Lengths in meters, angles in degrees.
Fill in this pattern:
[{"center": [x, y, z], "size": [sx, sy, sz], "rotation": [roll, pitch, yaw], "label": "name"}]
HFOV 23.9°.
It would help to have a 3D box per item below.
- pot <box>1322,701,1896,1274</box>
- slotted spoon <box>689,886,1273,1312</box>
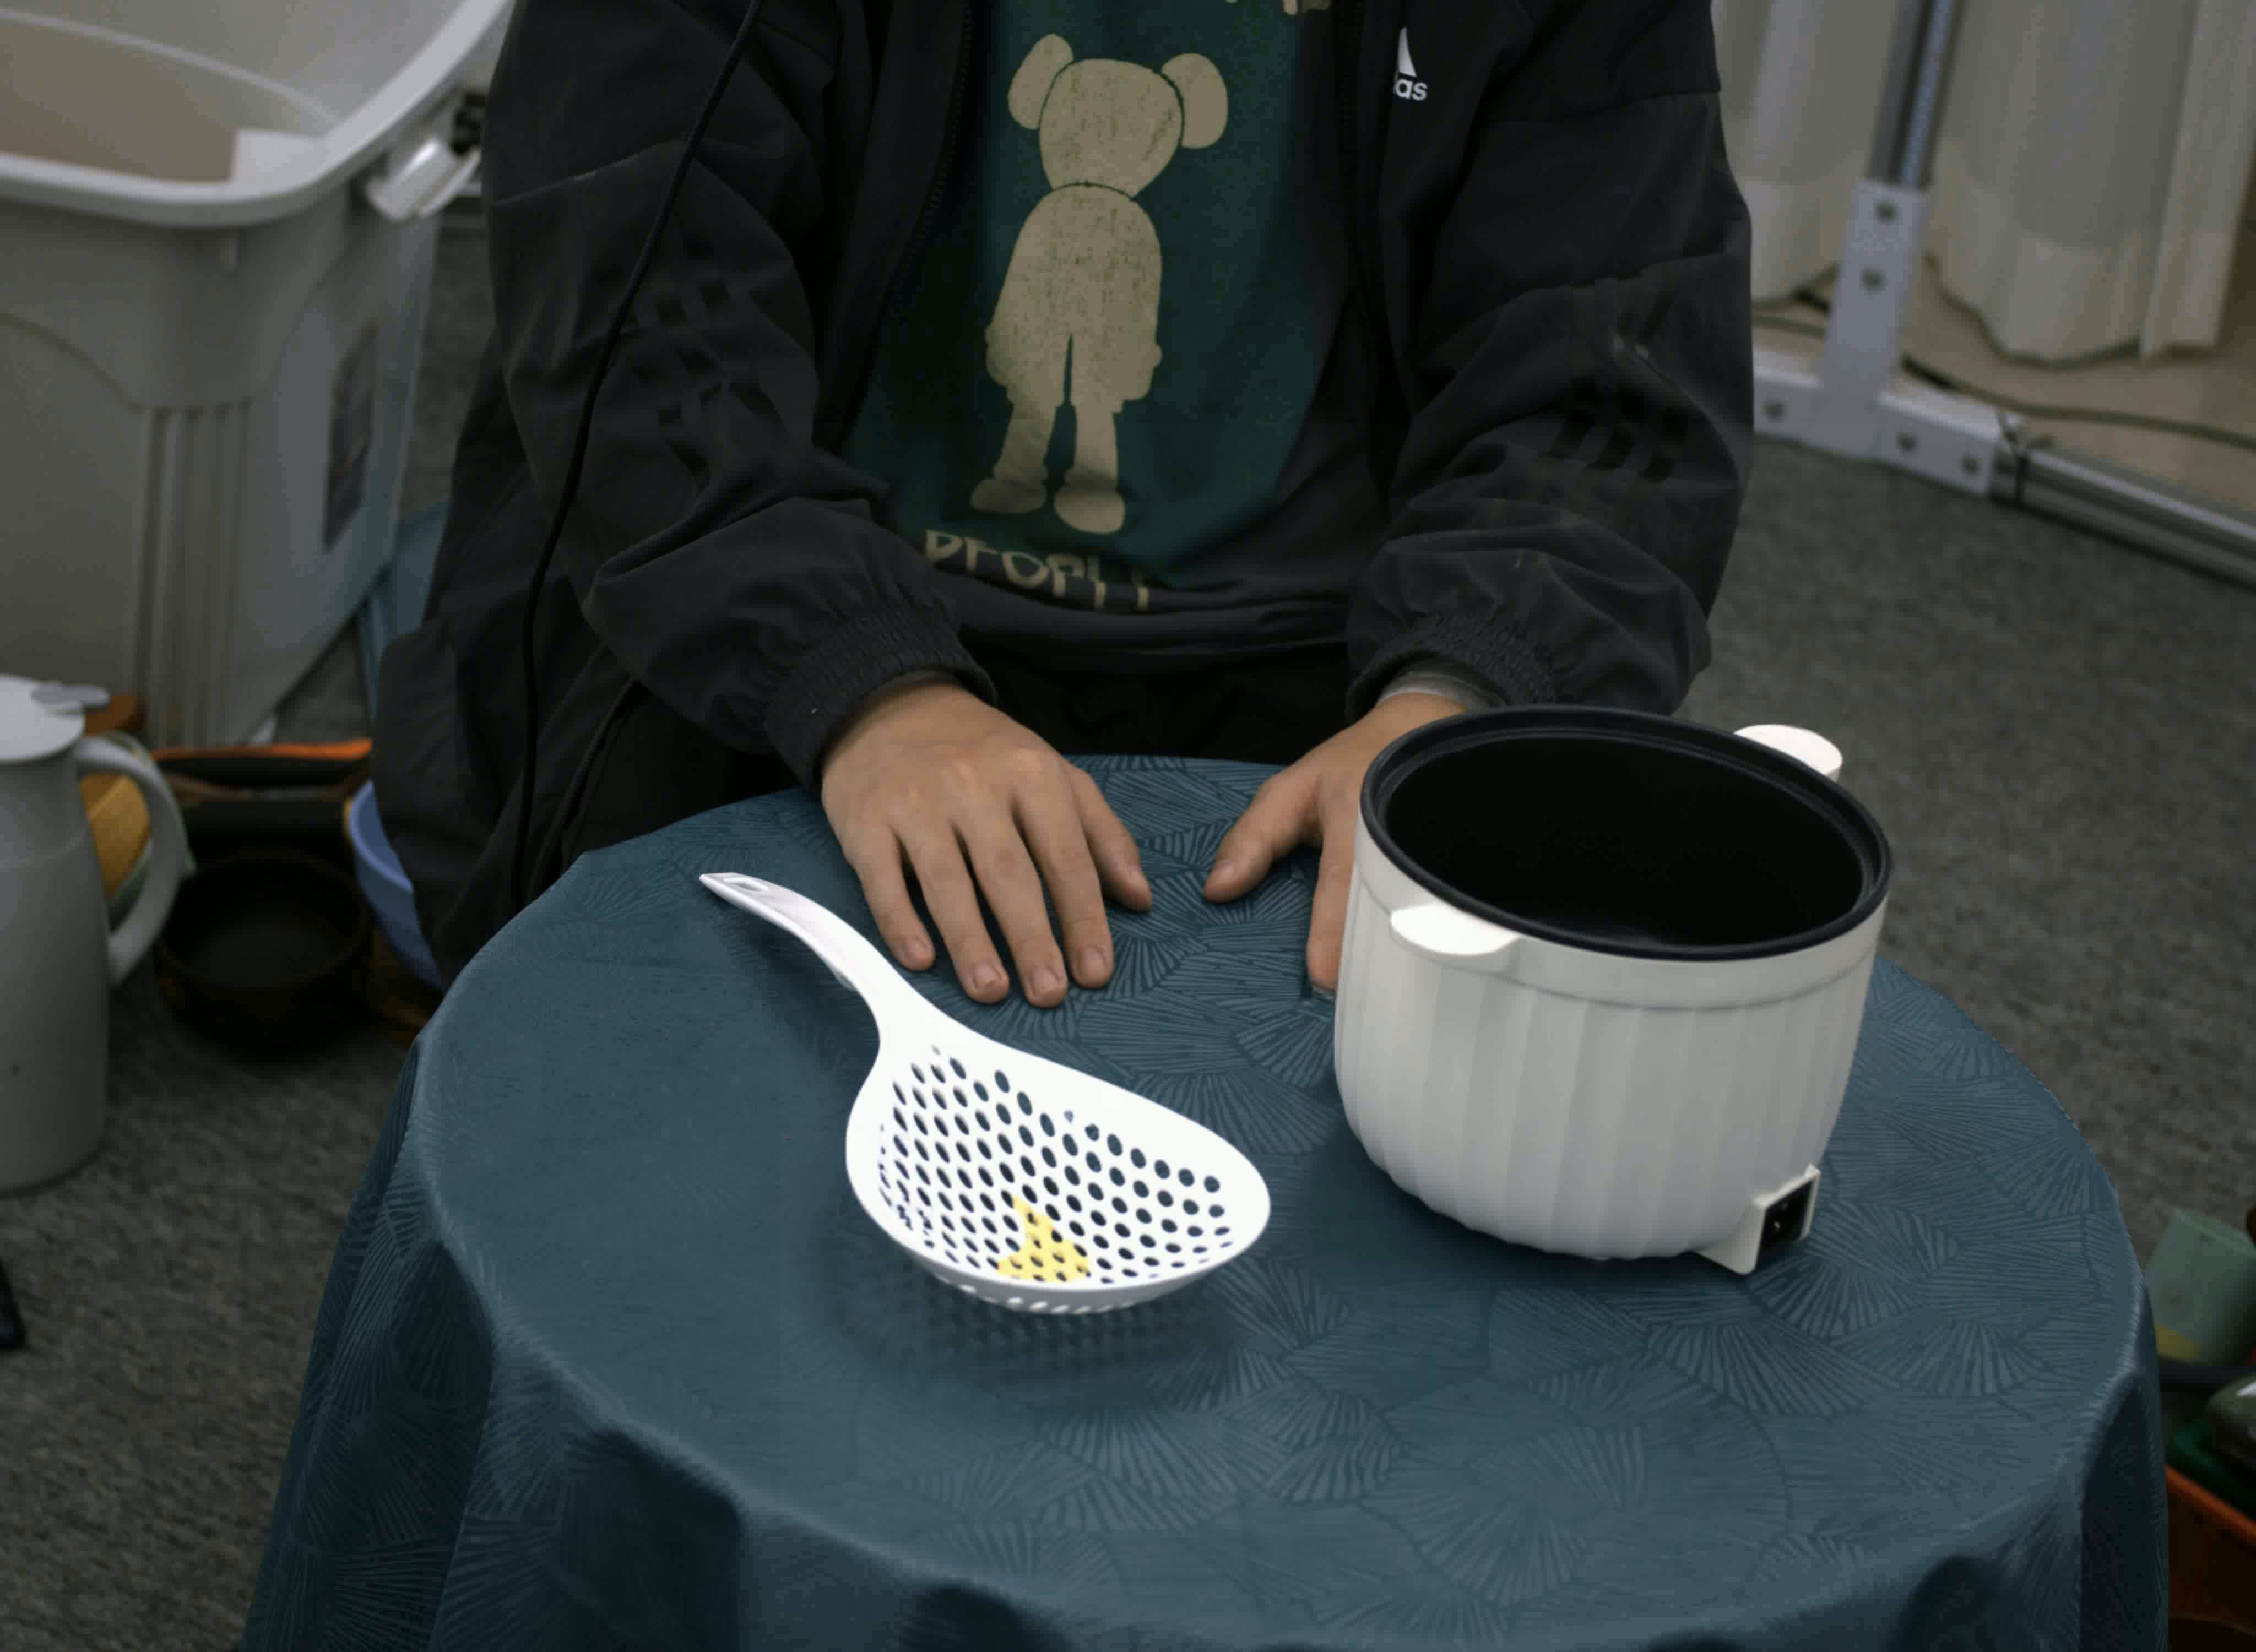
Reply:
[{"center": [0.156, 0.056, 1.821], "size": [0.192, 0.142, 0.239], "rotation": [28, 32, 30], "label": "pot"}, {"center": [-0.072, 0.081, 1.827], "size": [0.136, 0.050, 0.351], "rotation": [-9, 31, -25], "label": "slotted spoon"}]
